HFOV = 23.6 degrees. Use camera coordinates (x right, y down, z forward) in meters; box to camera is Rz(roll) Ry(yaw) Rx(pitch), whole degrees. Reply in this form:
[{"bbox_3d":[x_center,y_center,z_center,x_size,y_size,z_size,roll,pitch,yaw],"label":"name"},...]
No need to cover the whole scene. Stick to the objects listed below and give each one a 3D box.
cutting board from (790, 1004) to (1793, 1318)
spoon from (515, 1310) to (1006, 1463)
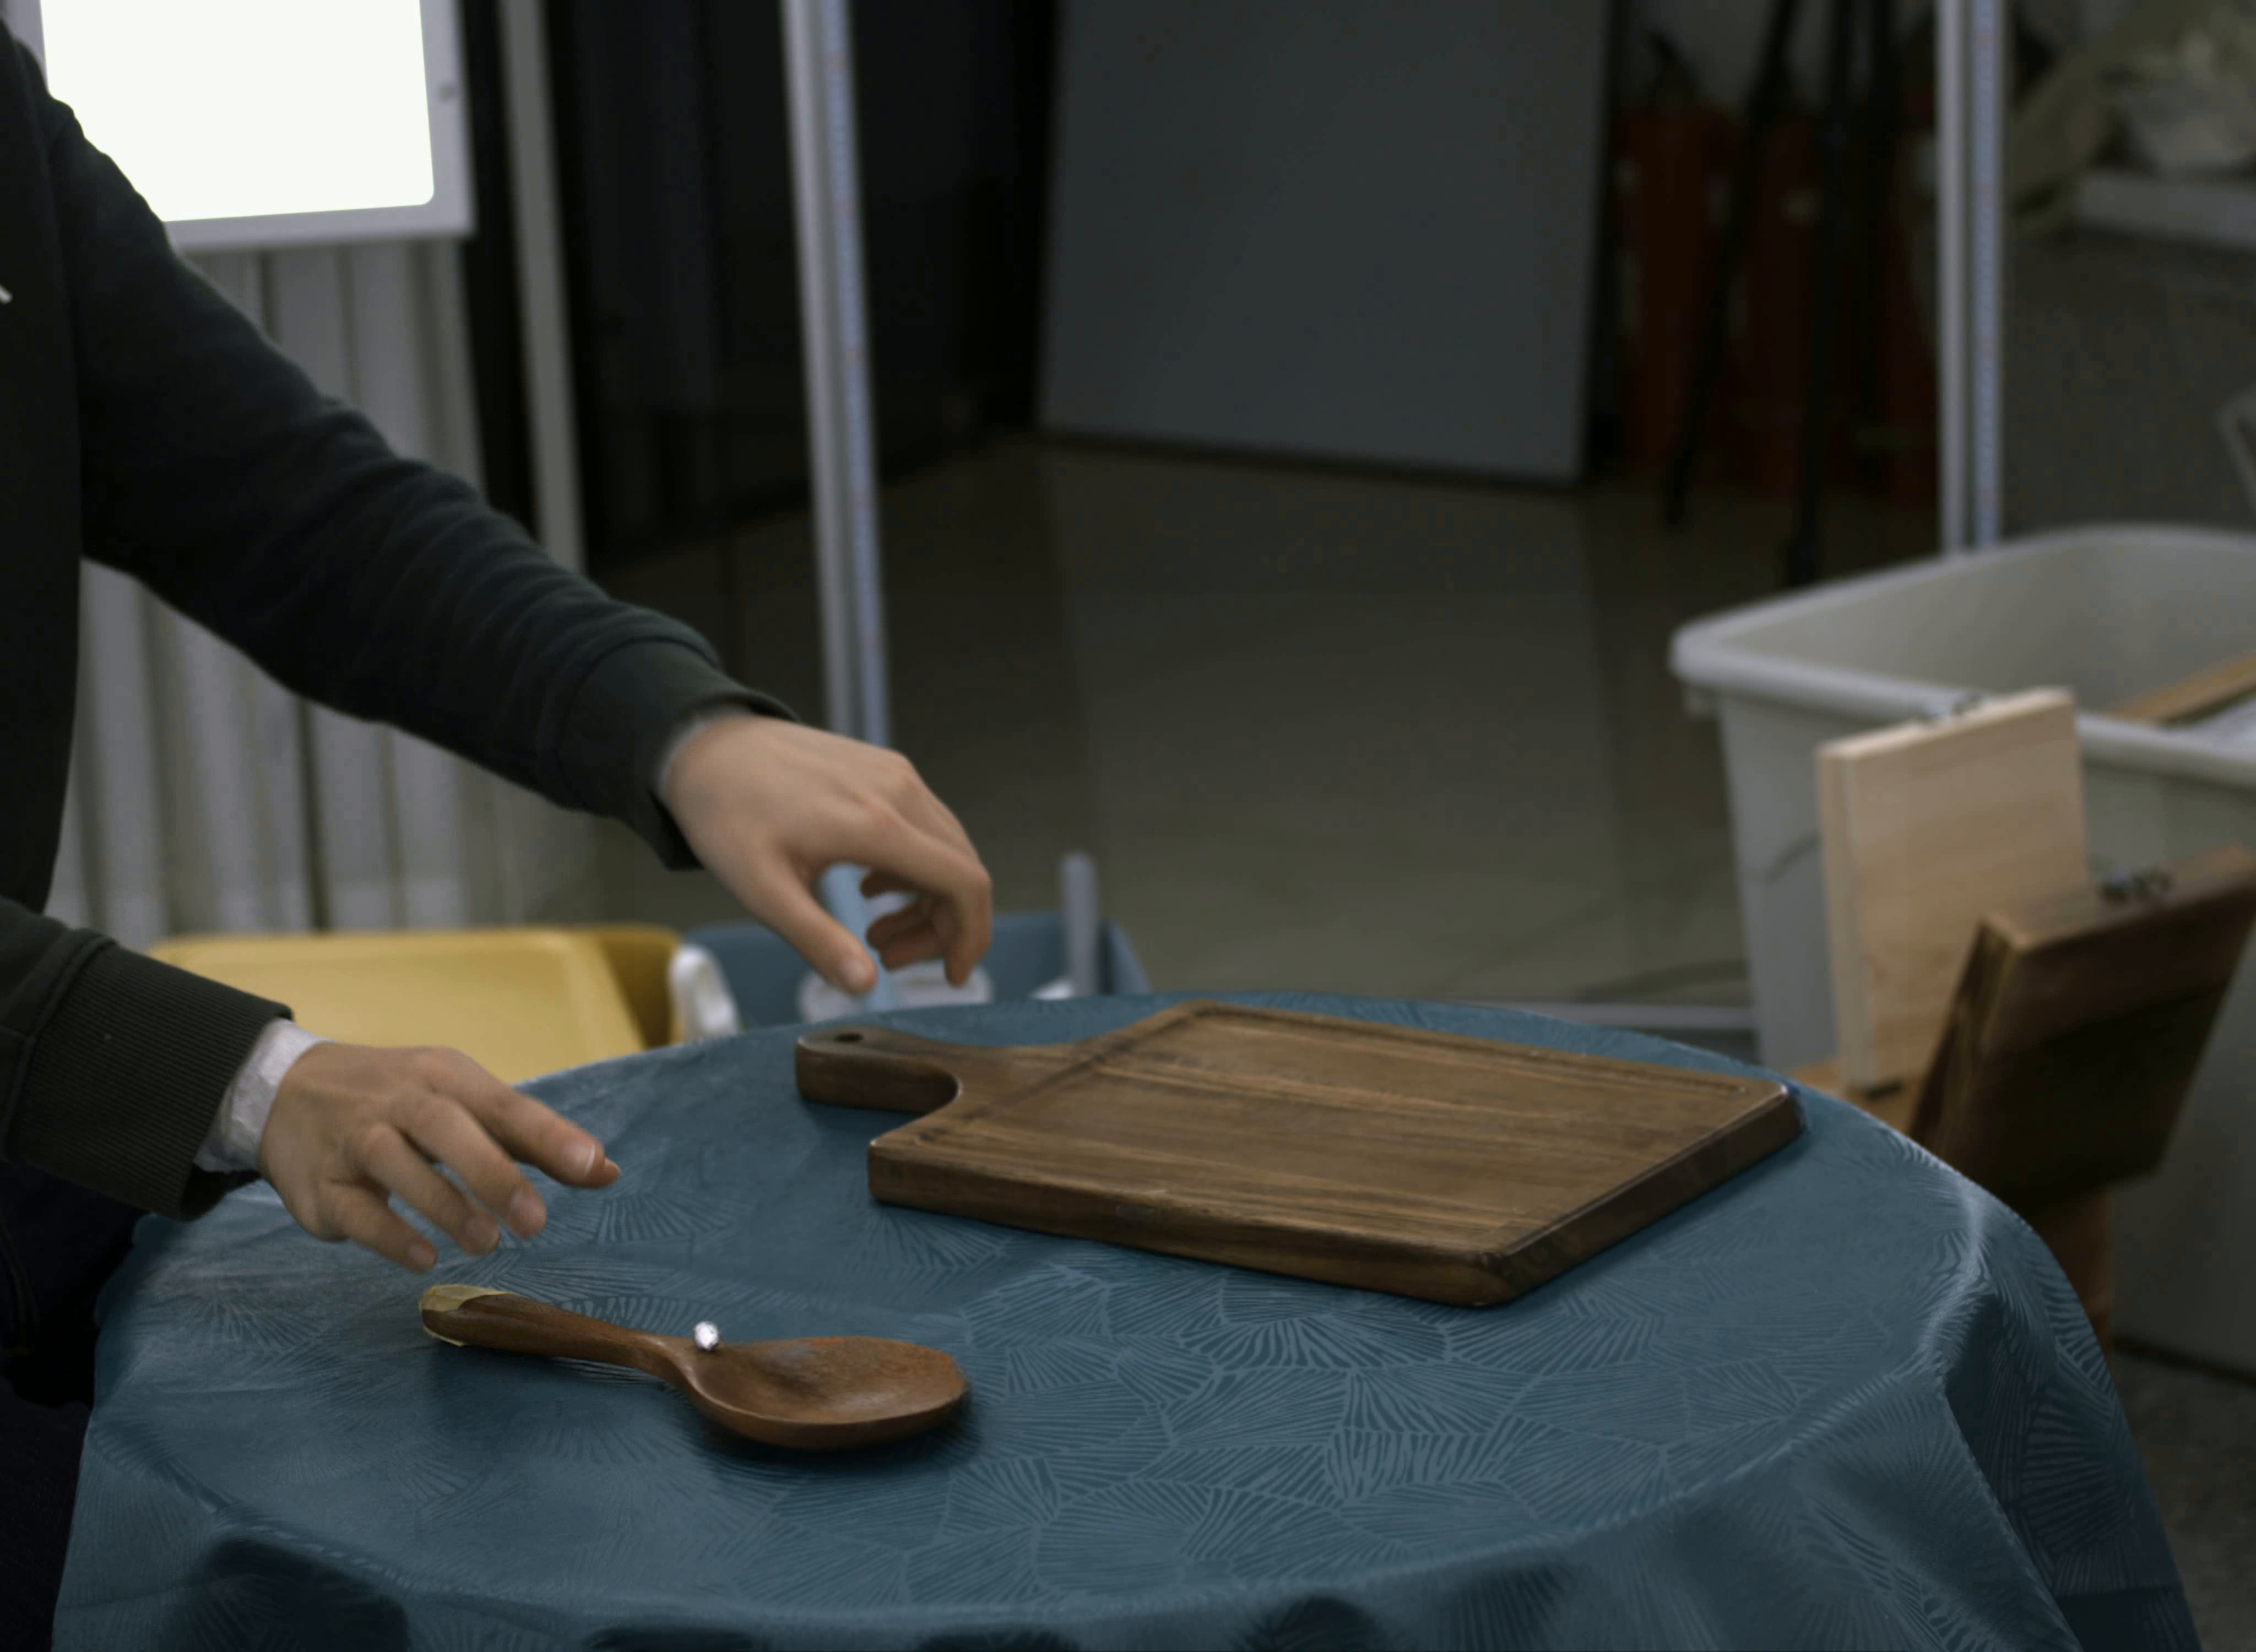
[{"bbox_3d":[0.028,0.102,1.806,0.354,0.023,0.197,6,18,37],"label":"cutting board"},{"bbox_3d":[-0.116,0.167,1.615,0.074,0.017,0.218,-12,12,-38],"label":"spoon"}]
